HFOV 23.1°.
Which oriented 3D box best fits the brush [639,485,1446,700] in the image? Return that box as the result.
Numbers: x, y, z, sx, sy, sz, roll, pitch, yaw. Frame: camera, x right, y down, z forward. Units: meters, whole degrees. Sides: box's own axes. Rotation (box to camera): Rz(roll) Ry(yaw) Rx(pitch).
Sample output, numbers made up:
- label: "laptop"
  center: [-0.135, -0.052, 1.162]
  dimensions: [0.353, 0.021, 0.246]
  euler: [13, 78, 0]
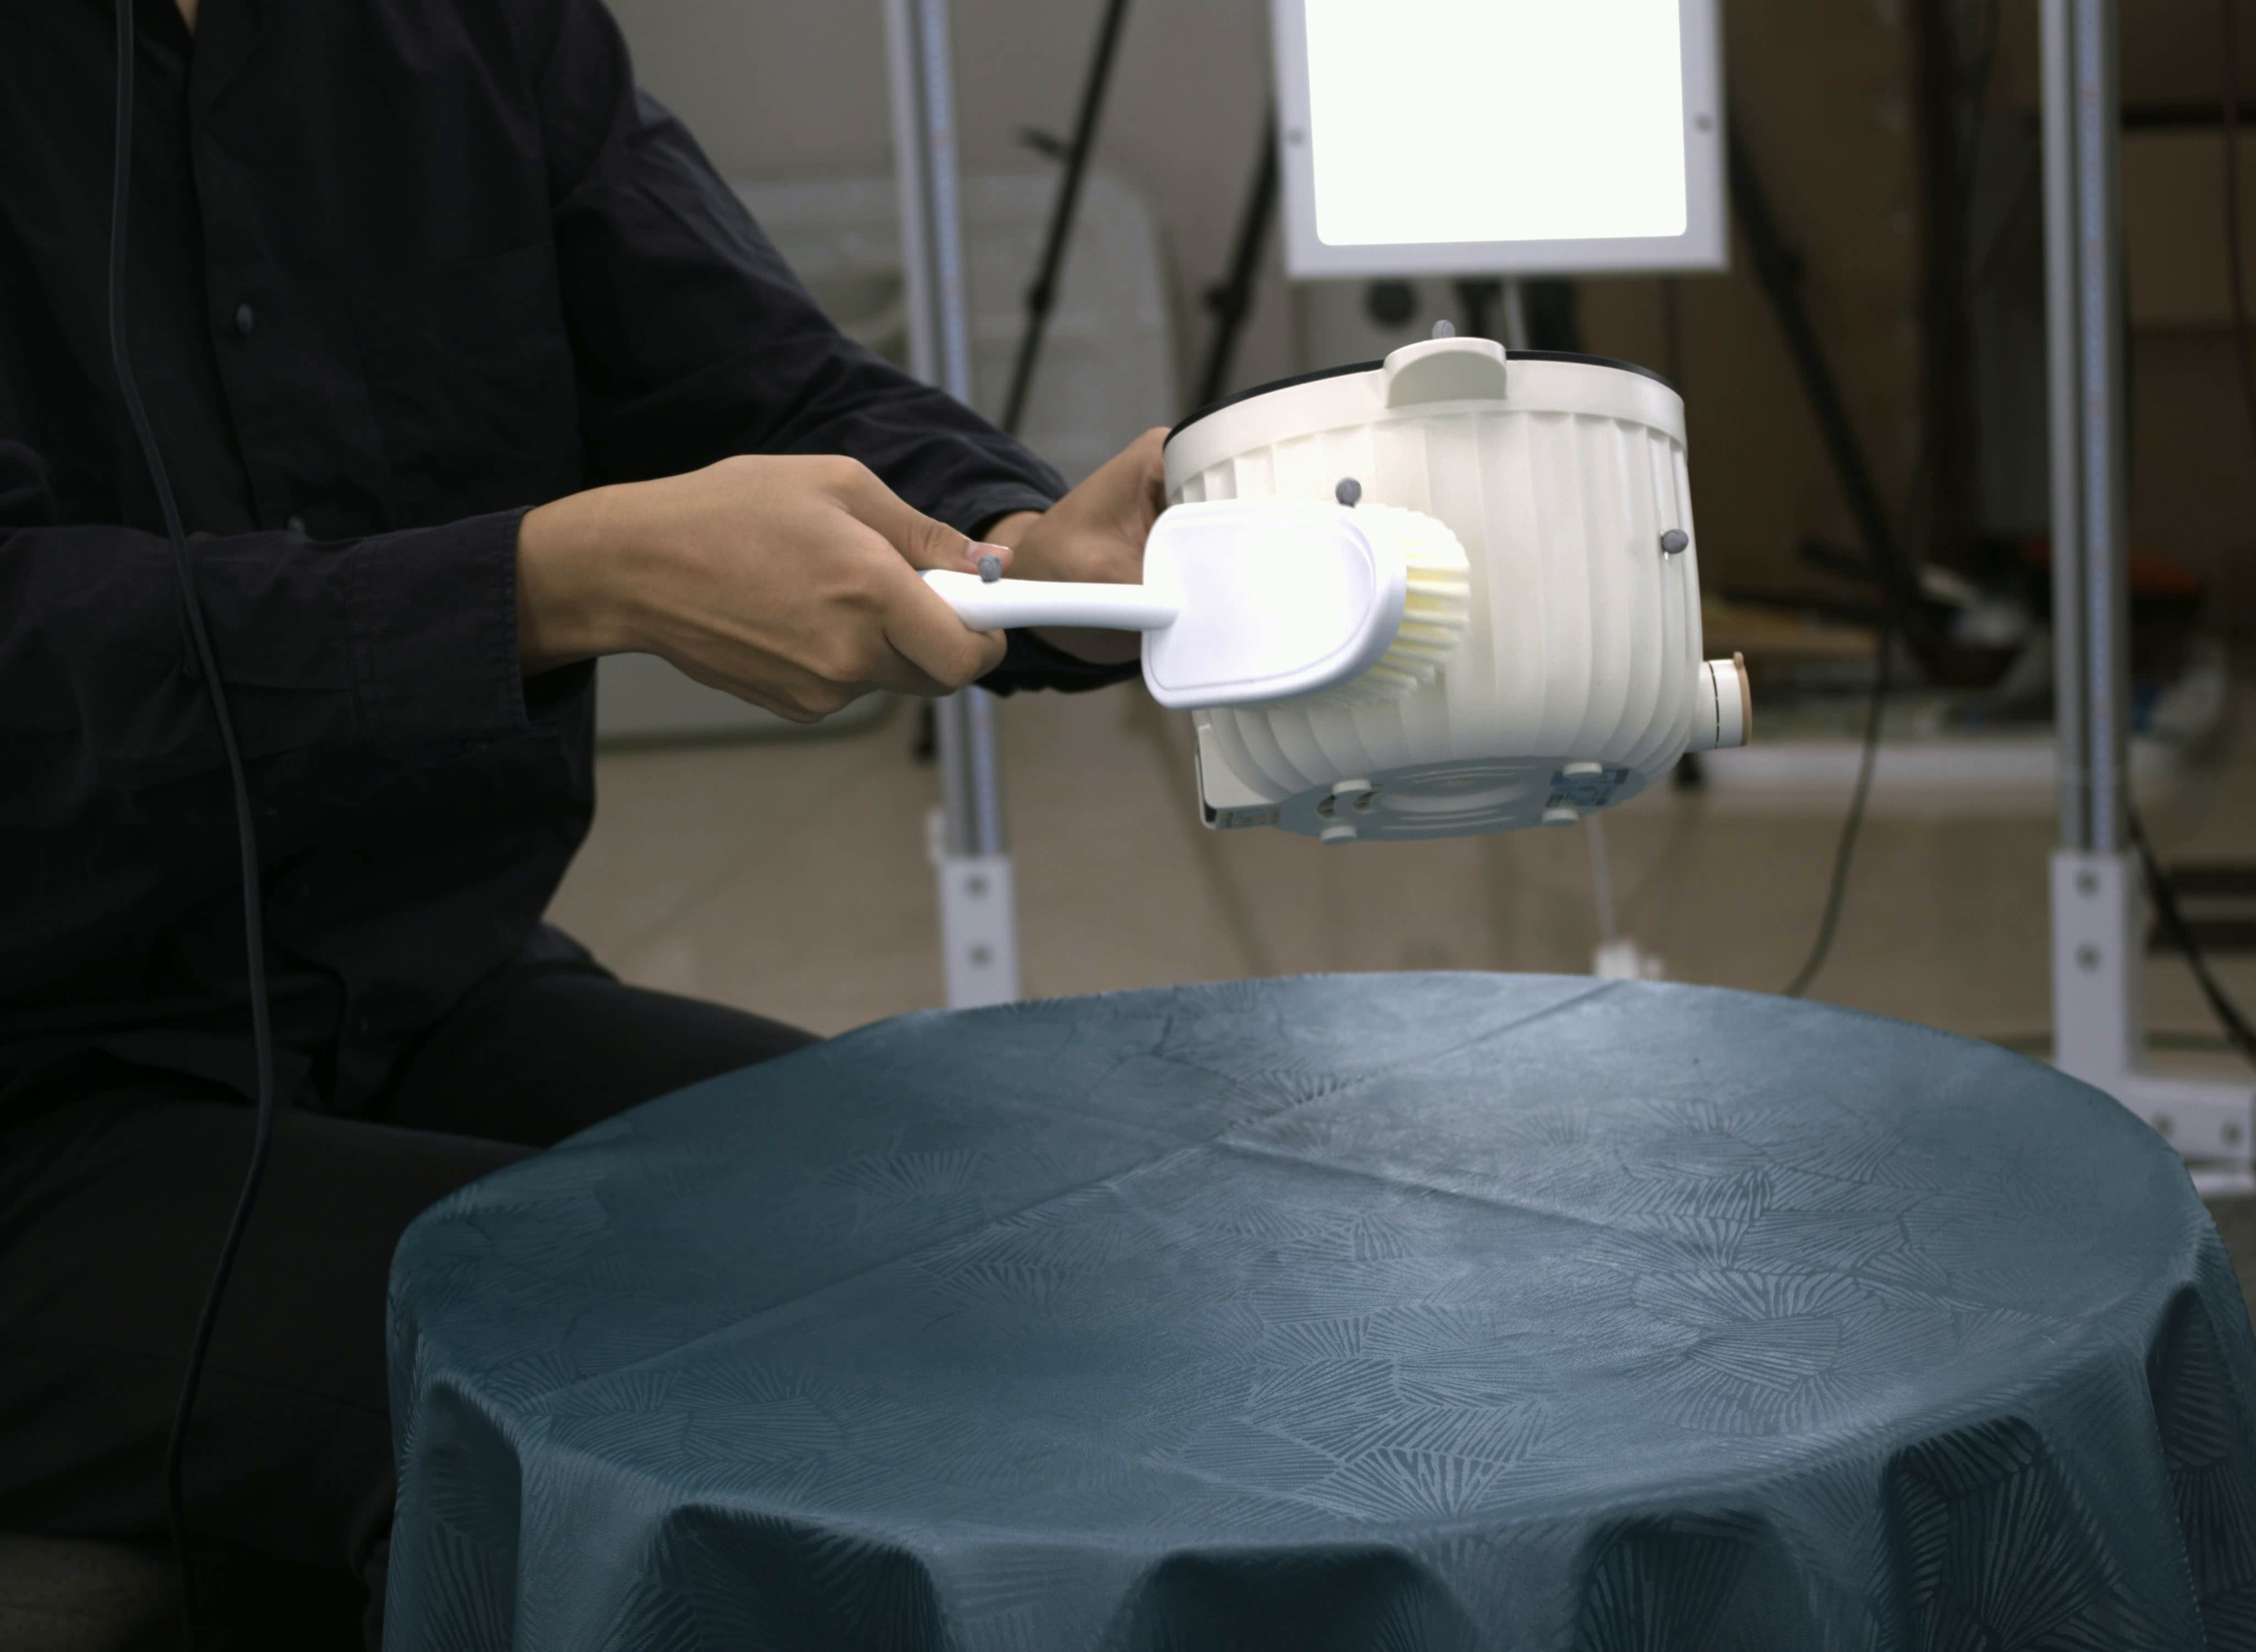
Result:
- label: "brush"
  center: [-0.025, -0.079, 1.843]
  dimensions: [0.332, 0.083, 0.082]
  euler: [-2, 51, 39]

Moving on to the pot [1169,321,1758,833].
- label: "pot"
  center: [0.116, -0.078, 1.897]
  dimensions: [0.189, 0.143, 0.241]
  euler: [-7, -11, -3]
